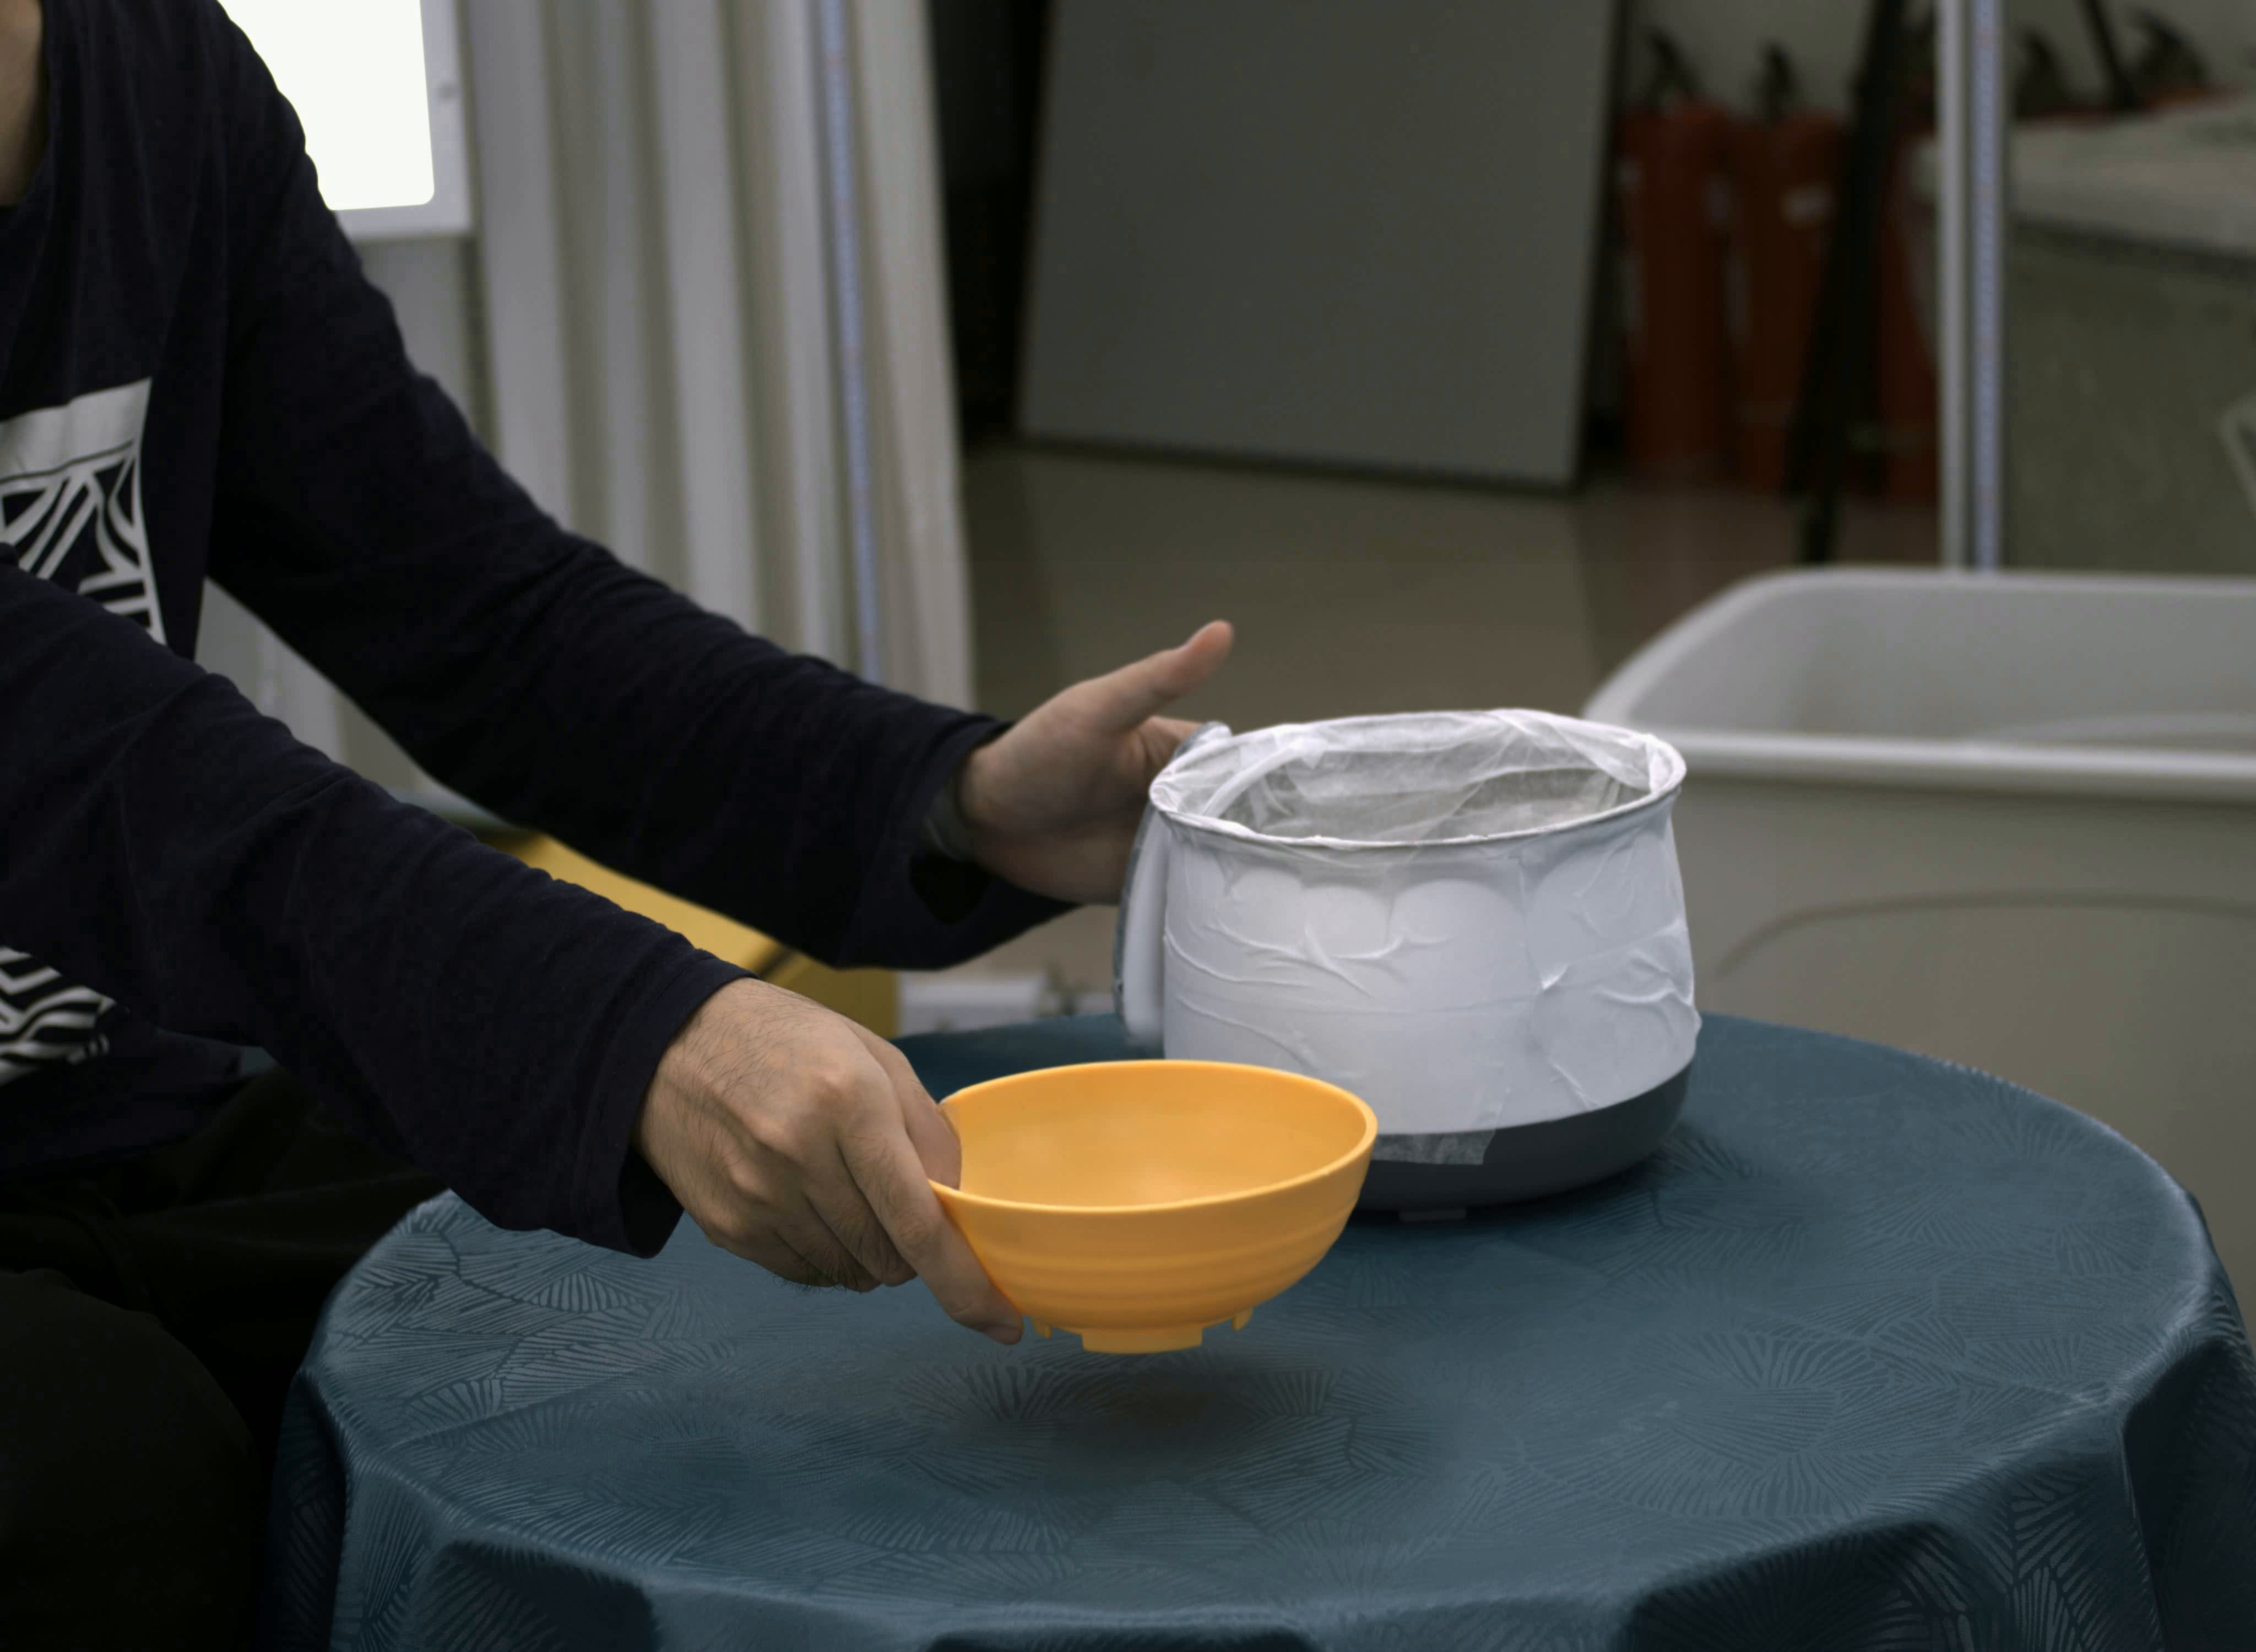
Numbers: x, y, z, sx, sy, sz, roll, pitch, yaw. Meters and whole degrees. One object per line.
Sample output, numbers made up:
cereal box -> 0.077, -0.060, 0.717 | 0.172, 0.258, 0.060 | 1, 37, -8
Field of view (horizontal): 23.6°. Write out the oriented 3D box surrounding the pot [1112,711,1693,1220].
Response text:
pot -> 0.079, 0.040, 1.792 | 0.175, 0.138, 0.236 | -12, 16, -41

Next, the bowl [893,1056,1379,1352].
bowl -> 0.005, 0.116, 1.578 | 0.143, 0.061, 0.145 | -6, 13, 0
